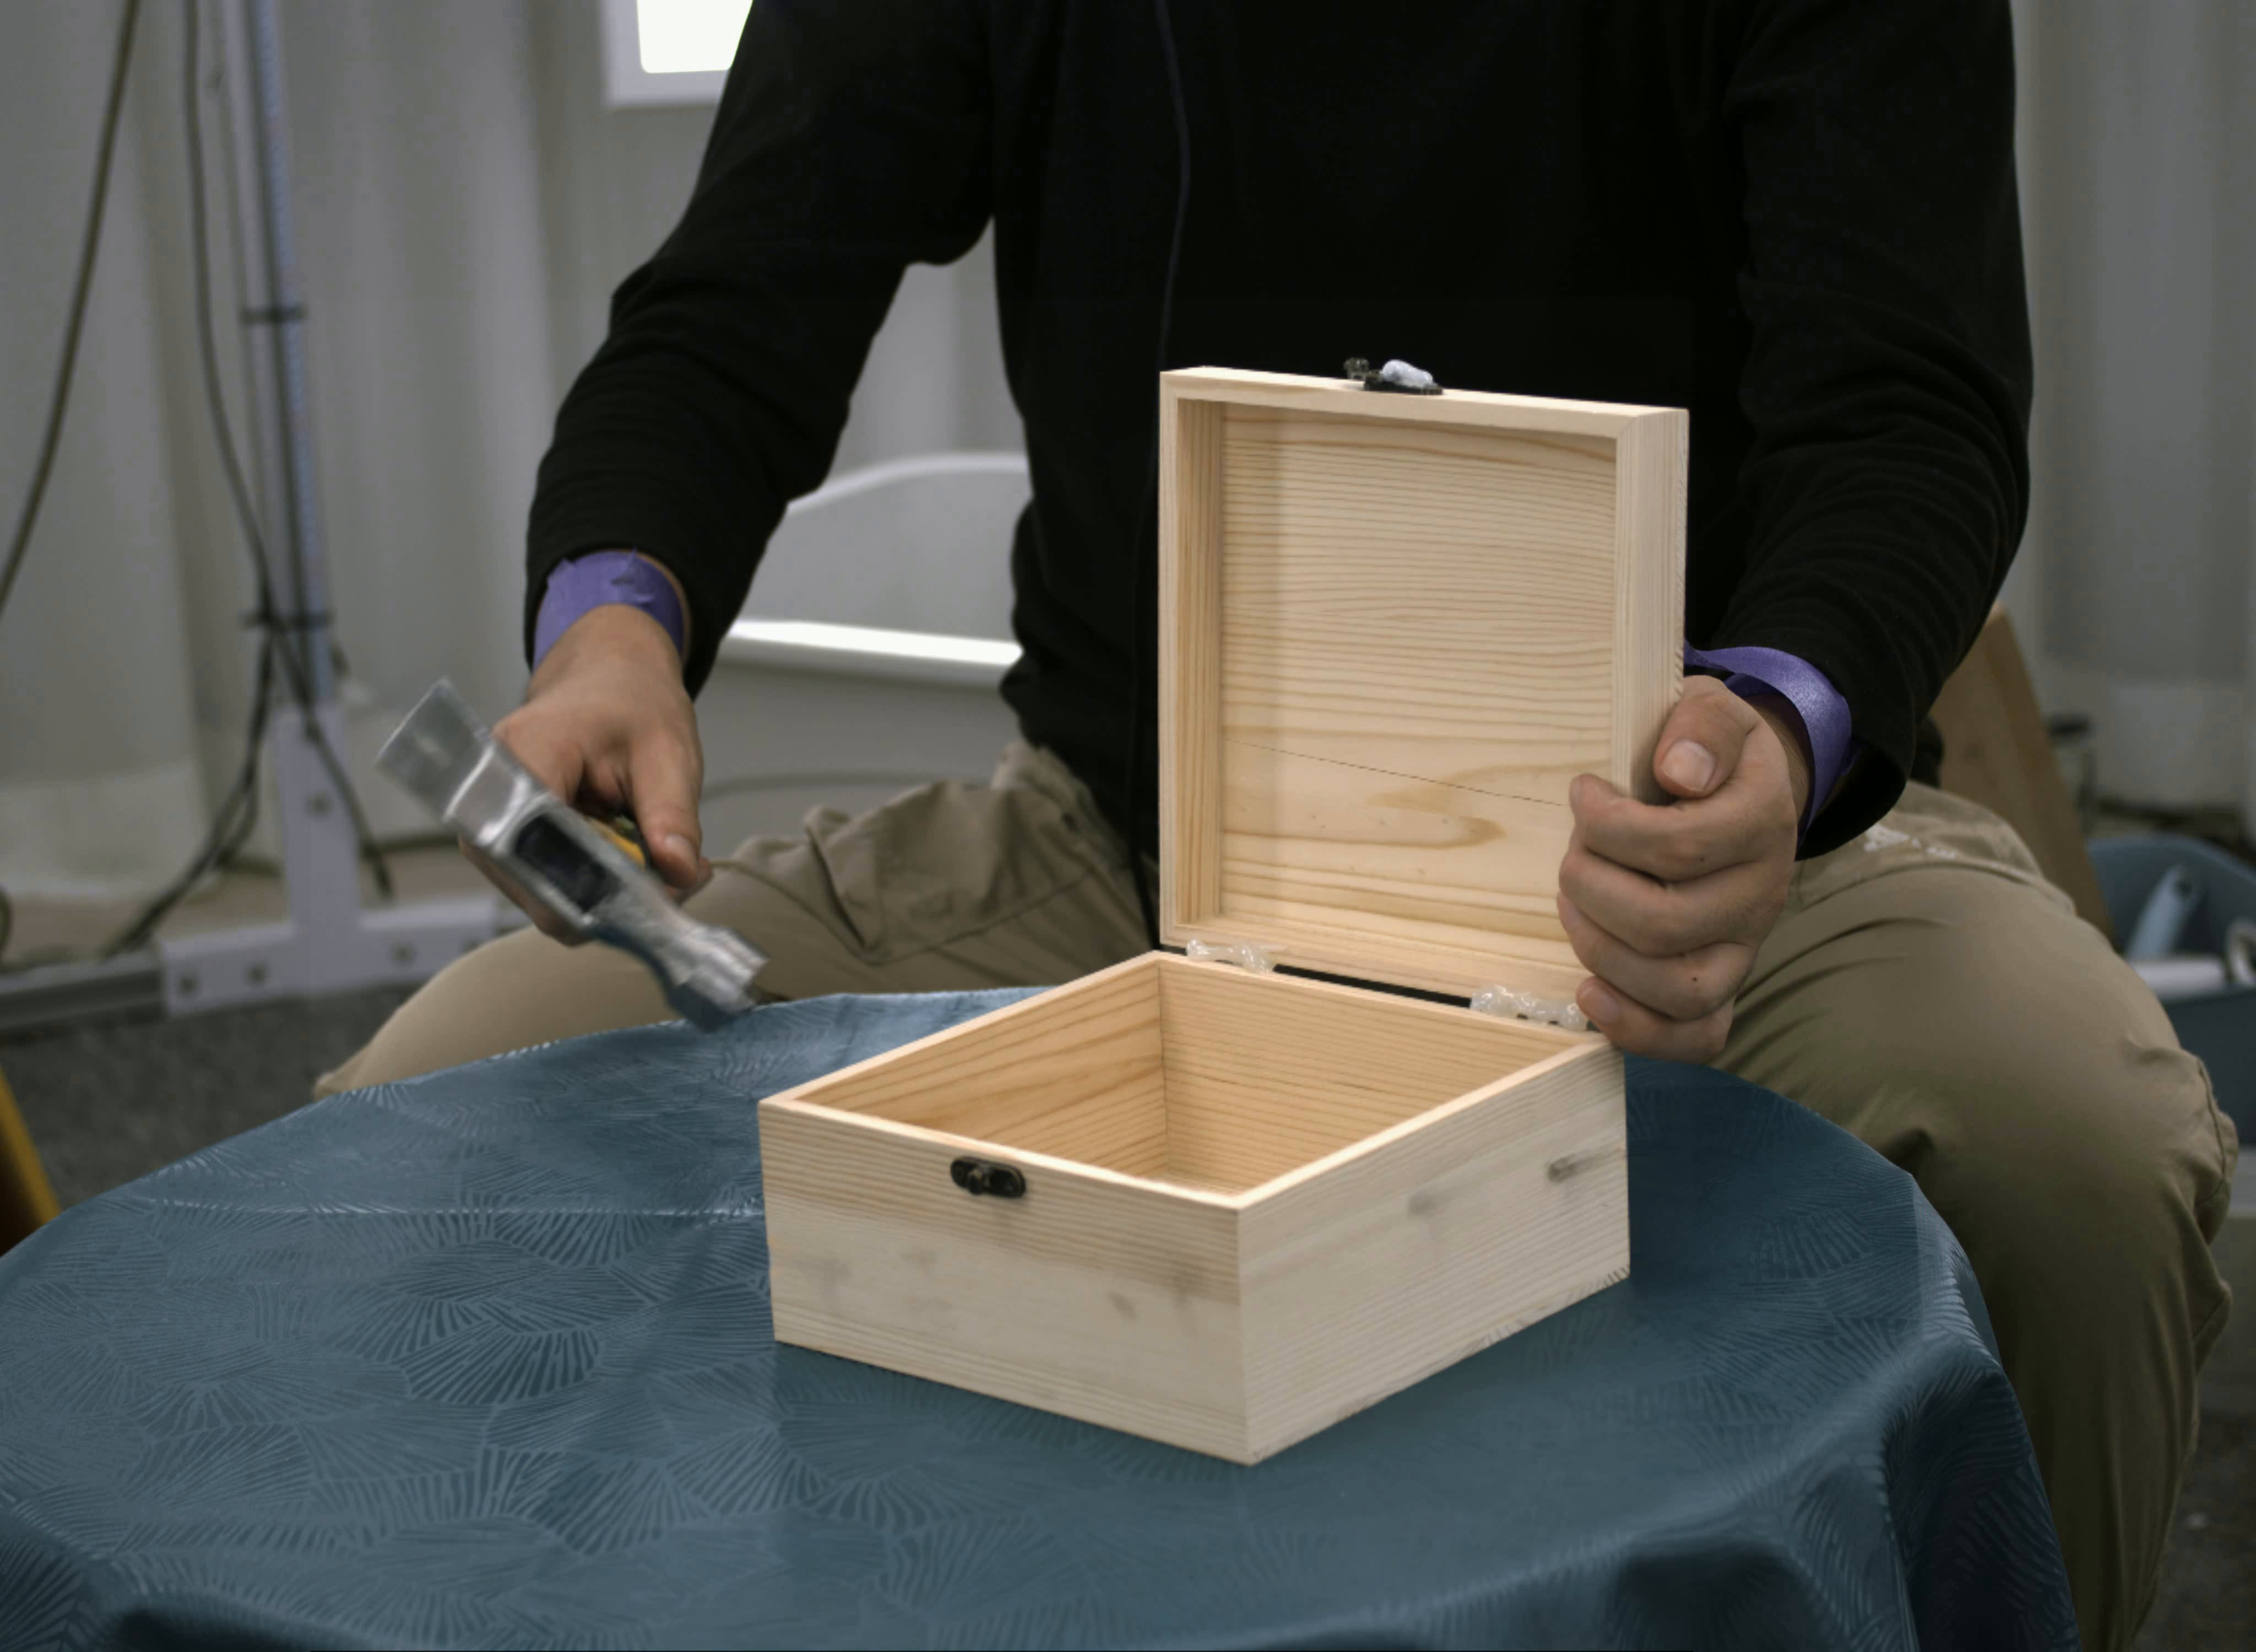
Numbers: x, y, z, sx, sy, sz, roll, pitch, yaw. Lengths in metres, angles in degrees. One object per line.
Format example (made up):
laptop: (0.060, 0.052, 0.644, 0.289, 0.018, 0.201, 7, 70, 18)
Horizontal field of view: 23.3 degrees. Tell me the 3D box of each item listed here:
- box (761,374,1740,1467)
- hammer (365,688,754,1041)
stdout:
box: (0.037, 0.015, 1.600, 0.182, 0.252, 0.265, 6, 17, 40)
hammer: (-0.169, 0.010, 1.750, 0.131, 0.032, 0.338, 38, 0, 0)
